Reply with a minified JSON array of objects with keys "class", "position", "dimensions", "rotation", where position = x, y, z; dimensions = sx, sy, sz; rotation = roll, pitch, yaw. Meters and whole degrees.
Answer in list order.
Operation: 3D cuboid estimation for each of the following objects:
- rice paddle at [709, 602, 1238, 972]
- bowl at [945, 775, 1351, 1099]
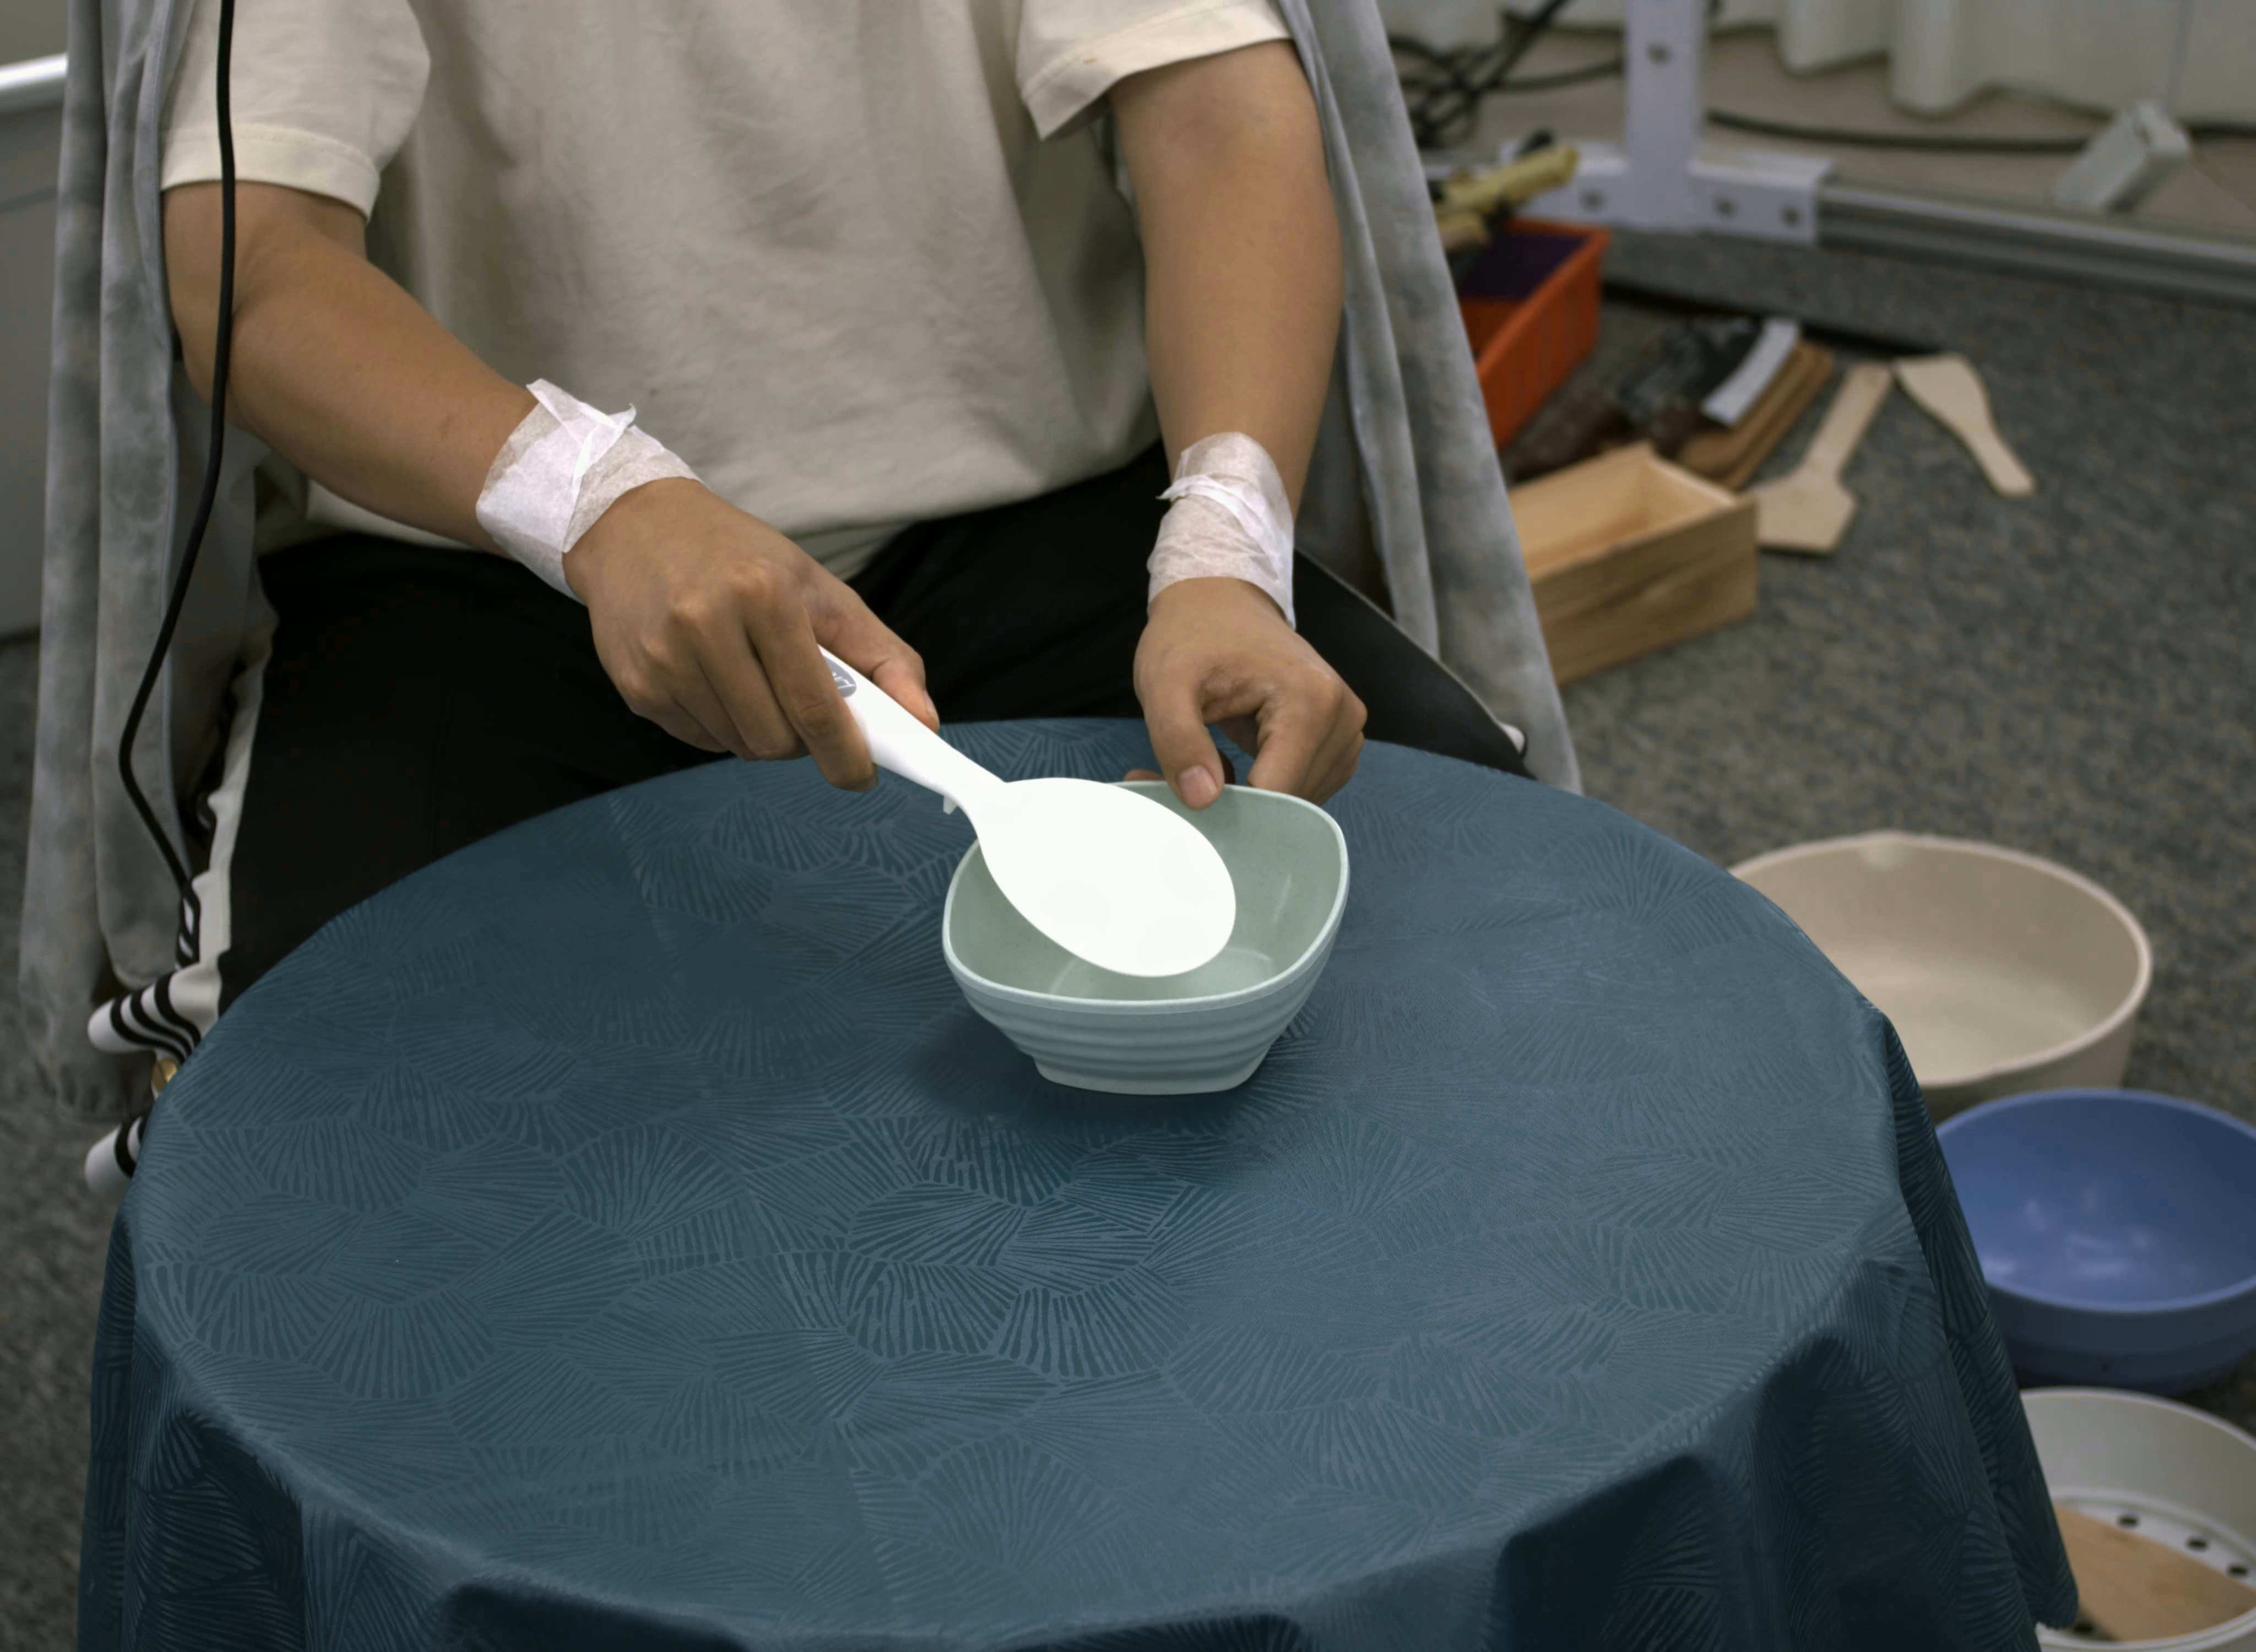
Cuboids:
[{"class":"rice paddle","position":[-0.052,-0.014,1.930],"dimensions":[0.205,0.029,0.070],"rotation":[31,59,12]},{"class":"bowl","position":[0.010,0.045,1.937],"dimensions":[0.150,0.058,0.154],"rotation":[-5,34,3]}]
